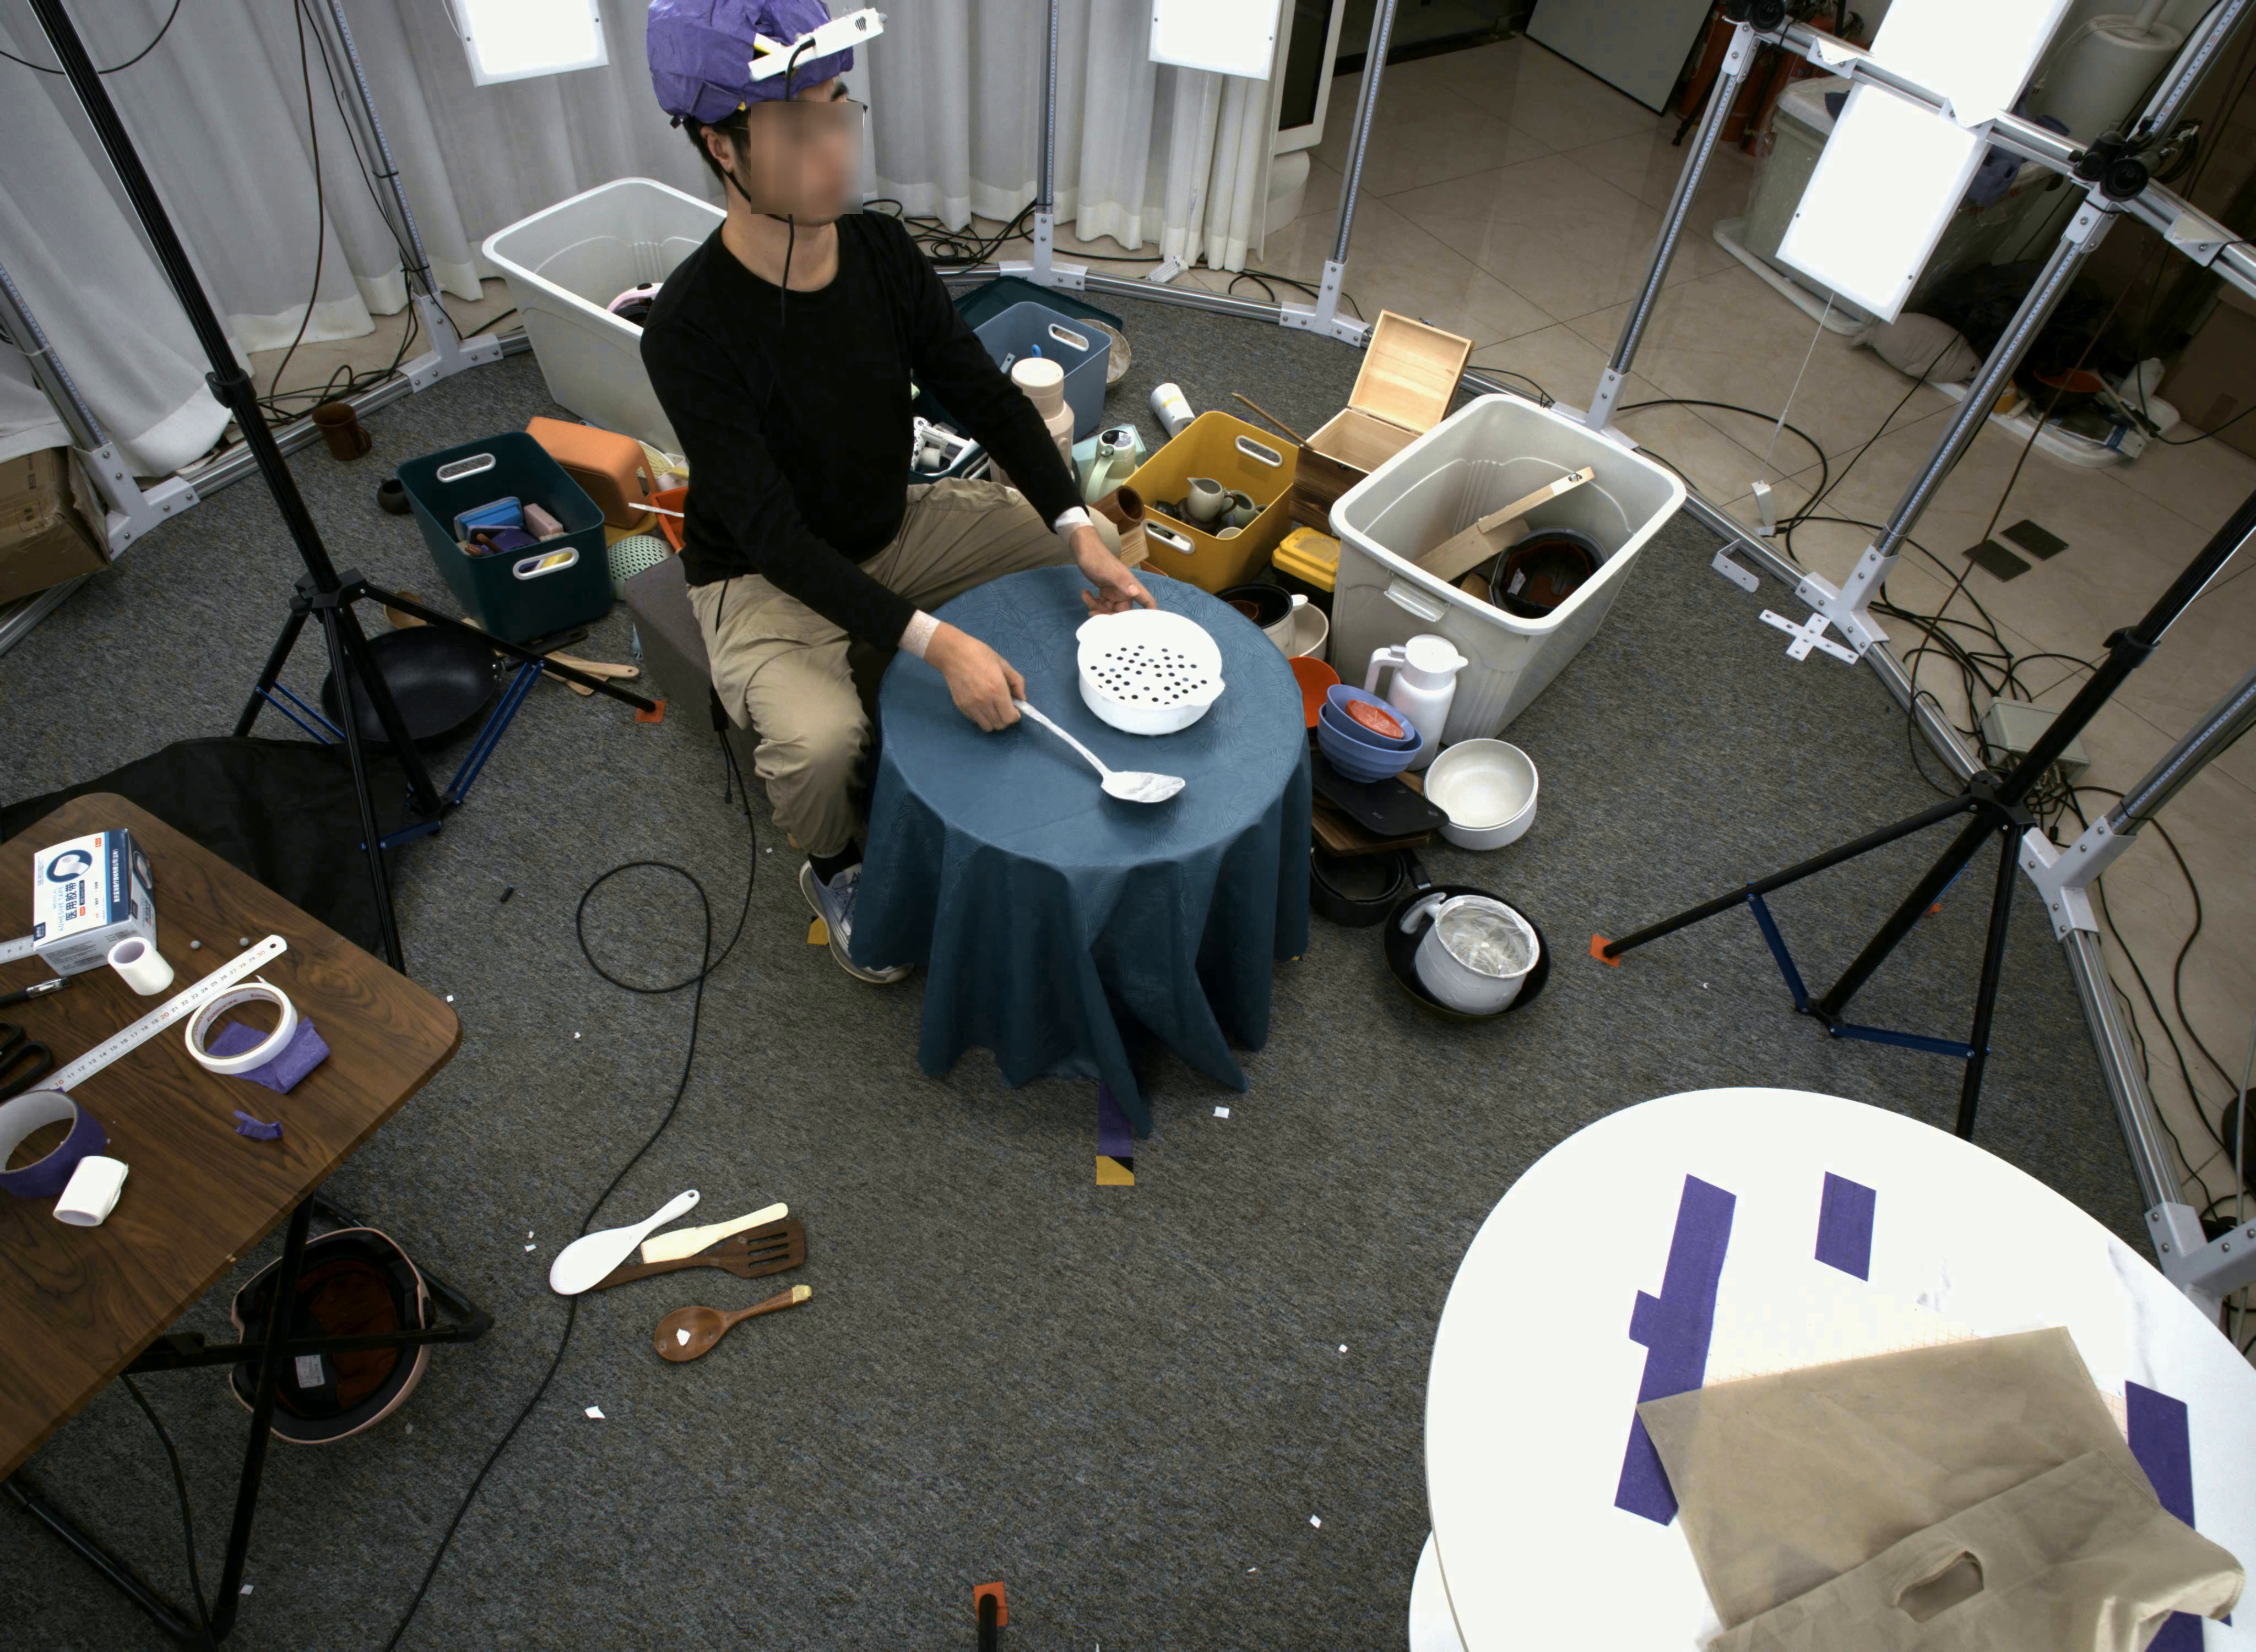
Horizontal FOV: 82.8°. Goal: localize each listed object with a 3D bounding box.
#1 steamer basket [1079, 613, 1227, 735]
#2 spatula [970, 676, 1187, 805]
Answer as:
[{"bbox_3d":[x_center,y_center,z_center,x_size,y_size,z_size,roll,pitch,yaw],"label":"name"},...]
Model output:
[{"bbox_3d":[0.032,-0.214,1.813,0.233,0.067,0.204,31,53,23],"label":"steamer basket"},{"bbox_3d":[-0.084,-0.125,1.737,0.369,0.044,0.099,36,41,21],"label":"spatula"}]
